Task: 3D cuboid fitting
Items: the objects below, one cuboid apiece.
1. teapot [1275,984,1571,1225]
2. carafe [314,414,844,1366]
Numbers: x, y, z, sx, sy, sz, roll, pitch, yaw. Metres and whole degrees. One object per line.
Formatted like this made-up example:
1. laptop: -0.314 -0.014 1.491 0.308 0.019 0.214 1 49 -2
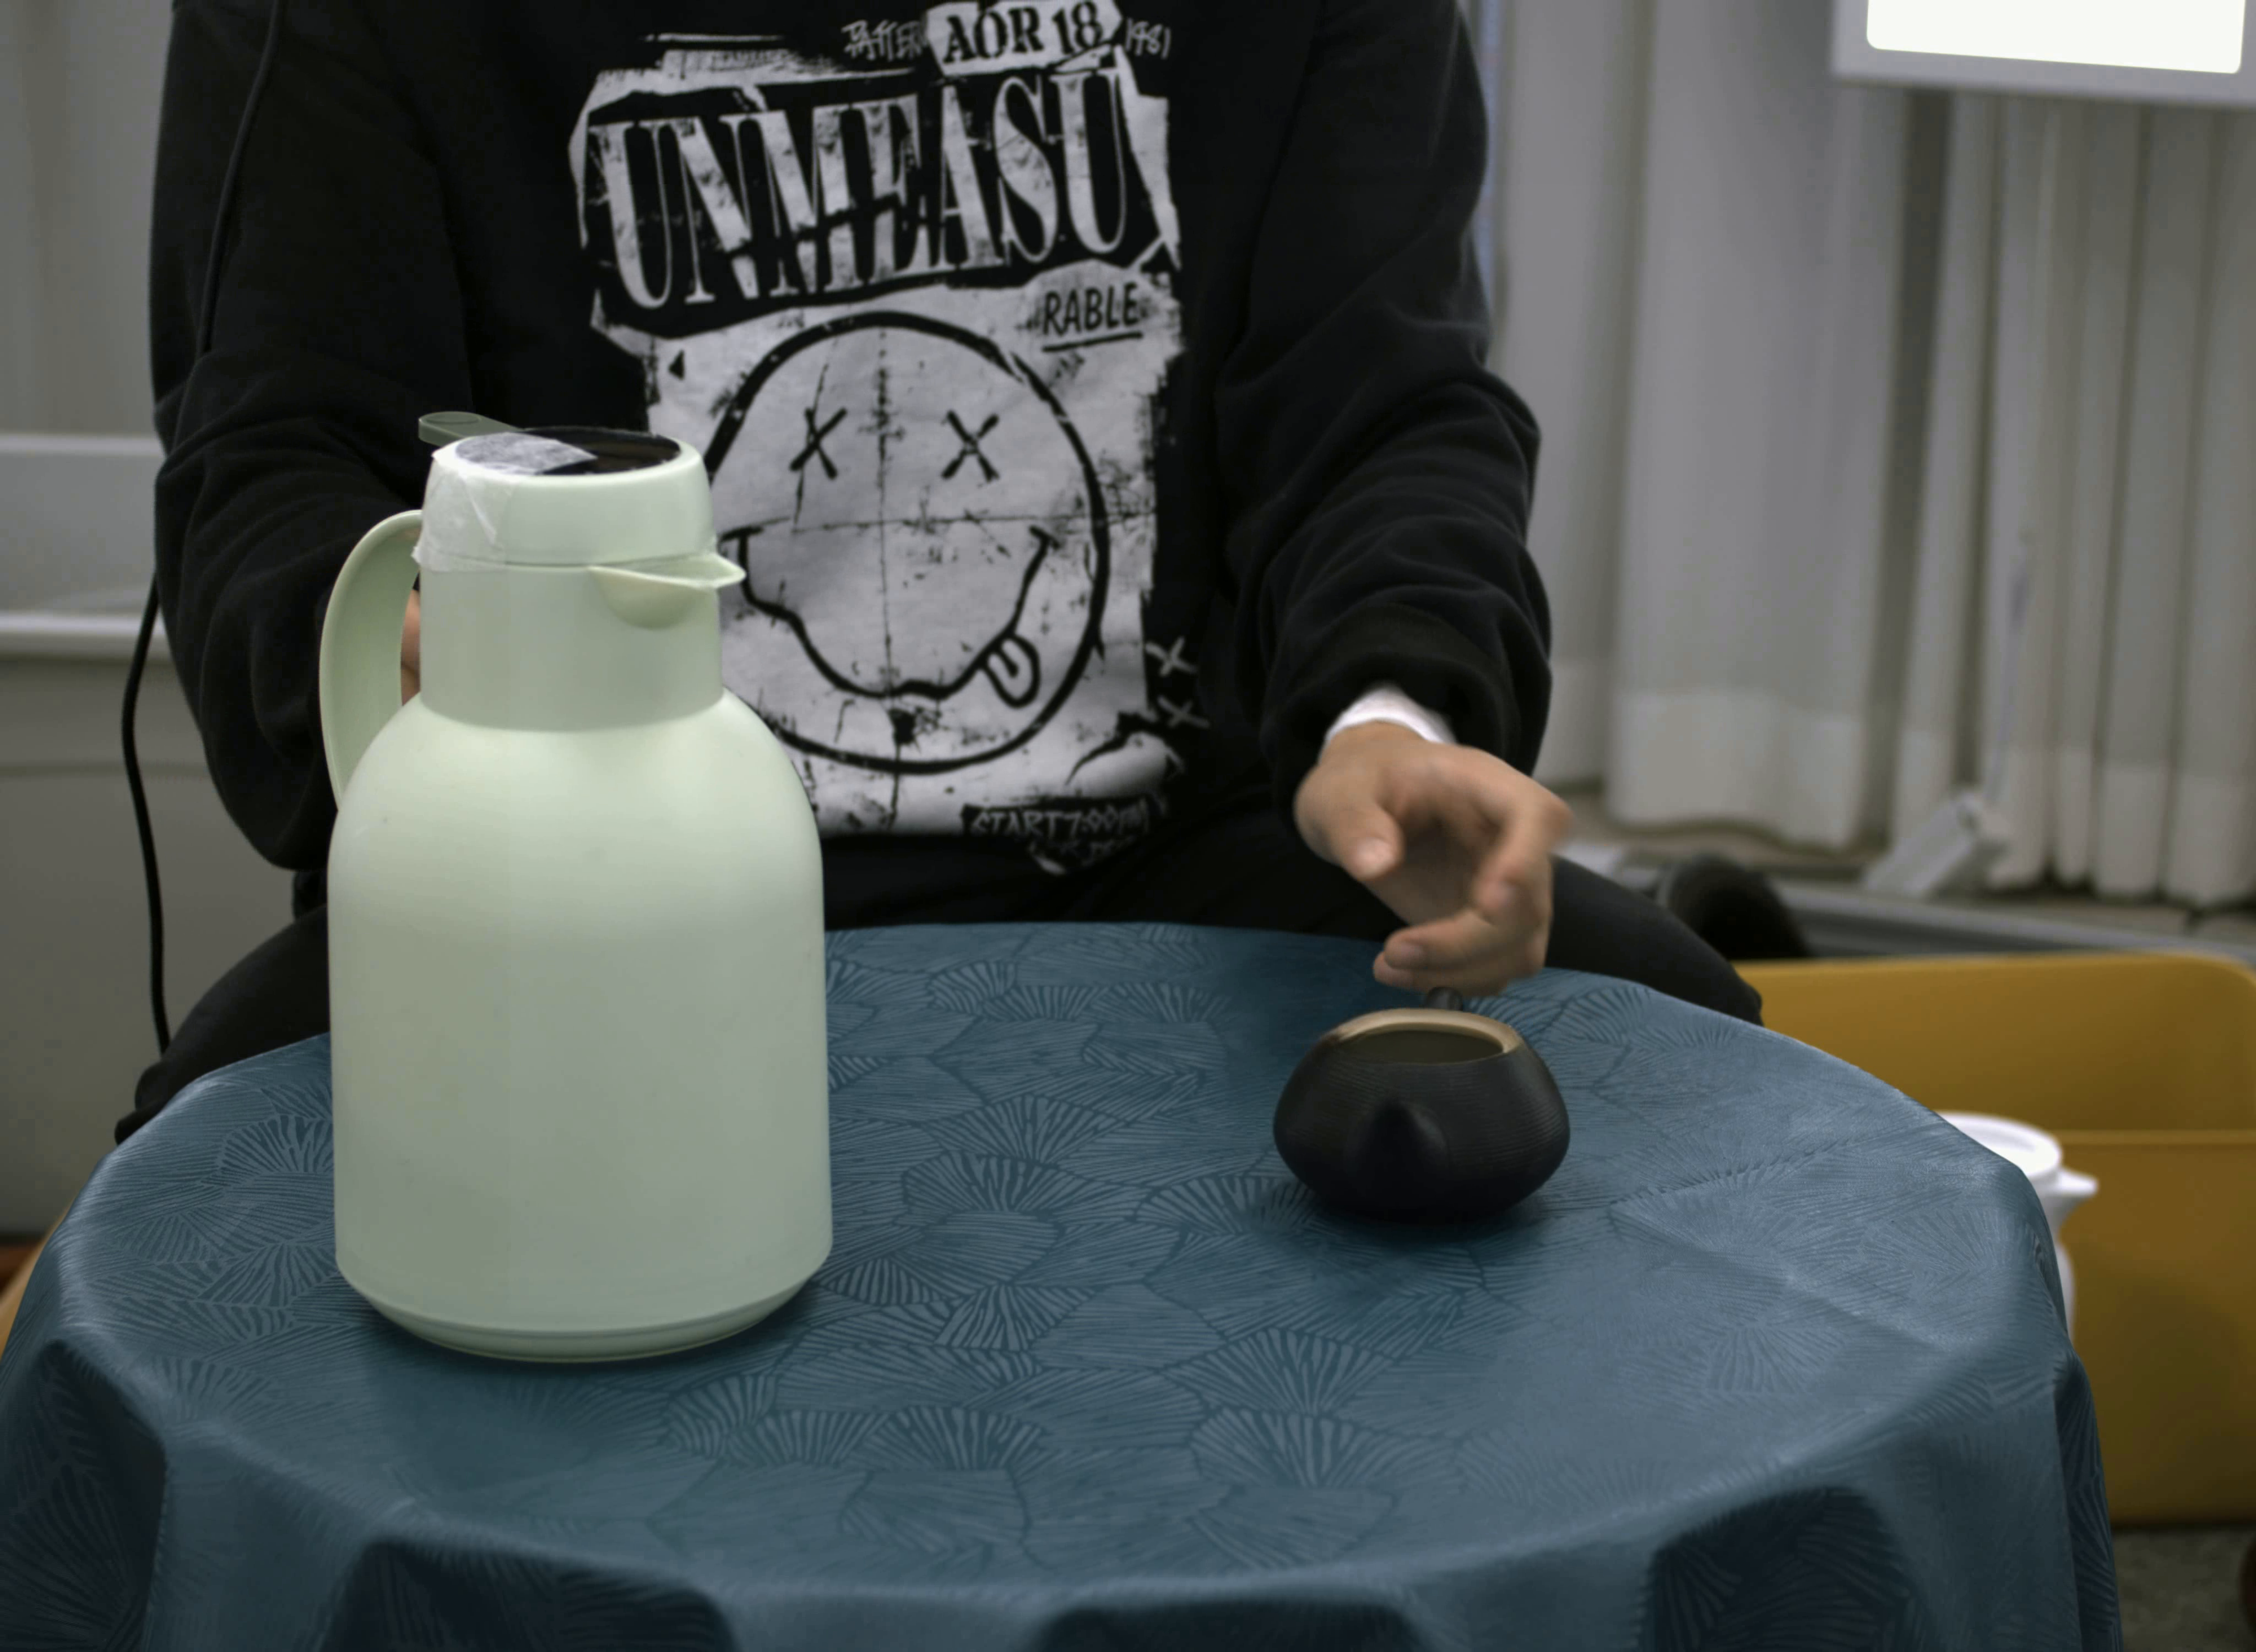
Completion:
1. teapot: 0.090 0.088 1.611 0.090 0.053 0.133 5 17 10
2. carafe: -0.167 0.012 1.510 0.145 0.259 0.184 -16 19 -40
